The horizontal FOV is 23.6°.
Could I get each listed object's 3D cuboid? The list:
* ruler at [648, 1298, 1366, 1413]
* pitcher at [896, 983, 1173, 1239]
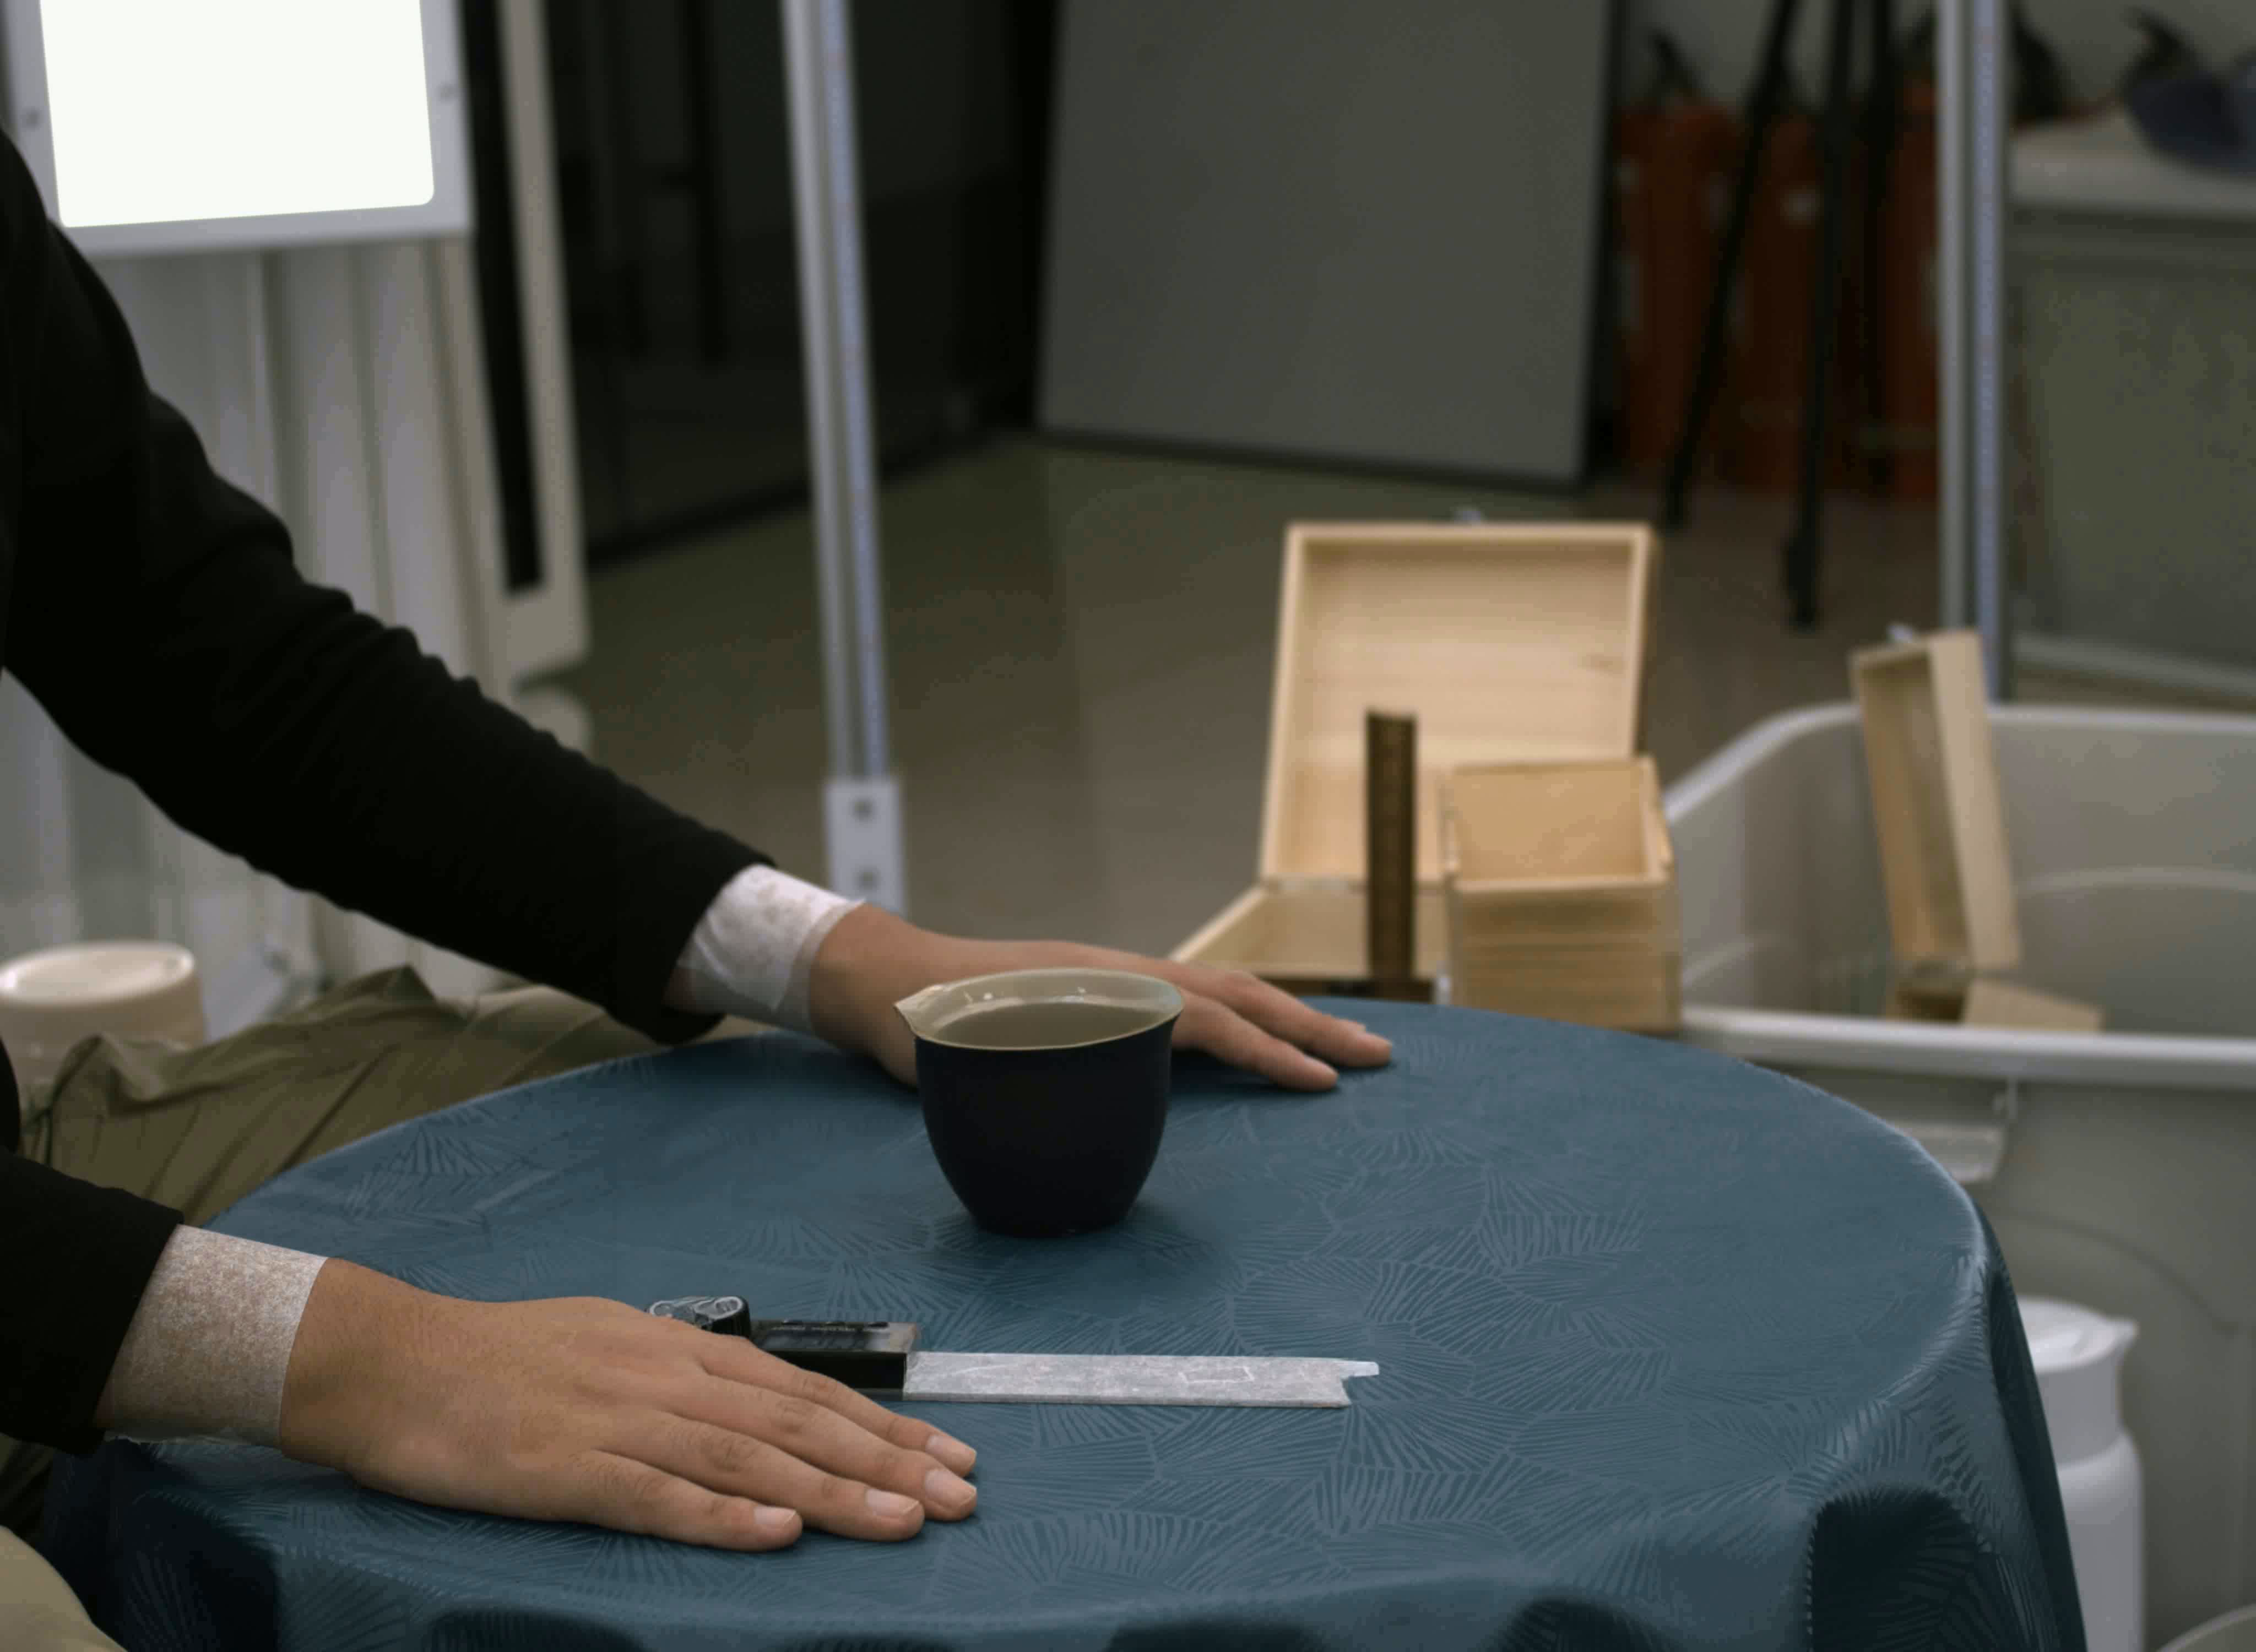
[{"bbox_3d":[-0.038,0.155,1.596,0.217,0.024,0.038,-2,20,14],"label":"ruler"},{"bbox_3d":[-0.031,0.091,1.747,0.096,0.072,0.082,5,17,29],"label":"pitcher"}]
